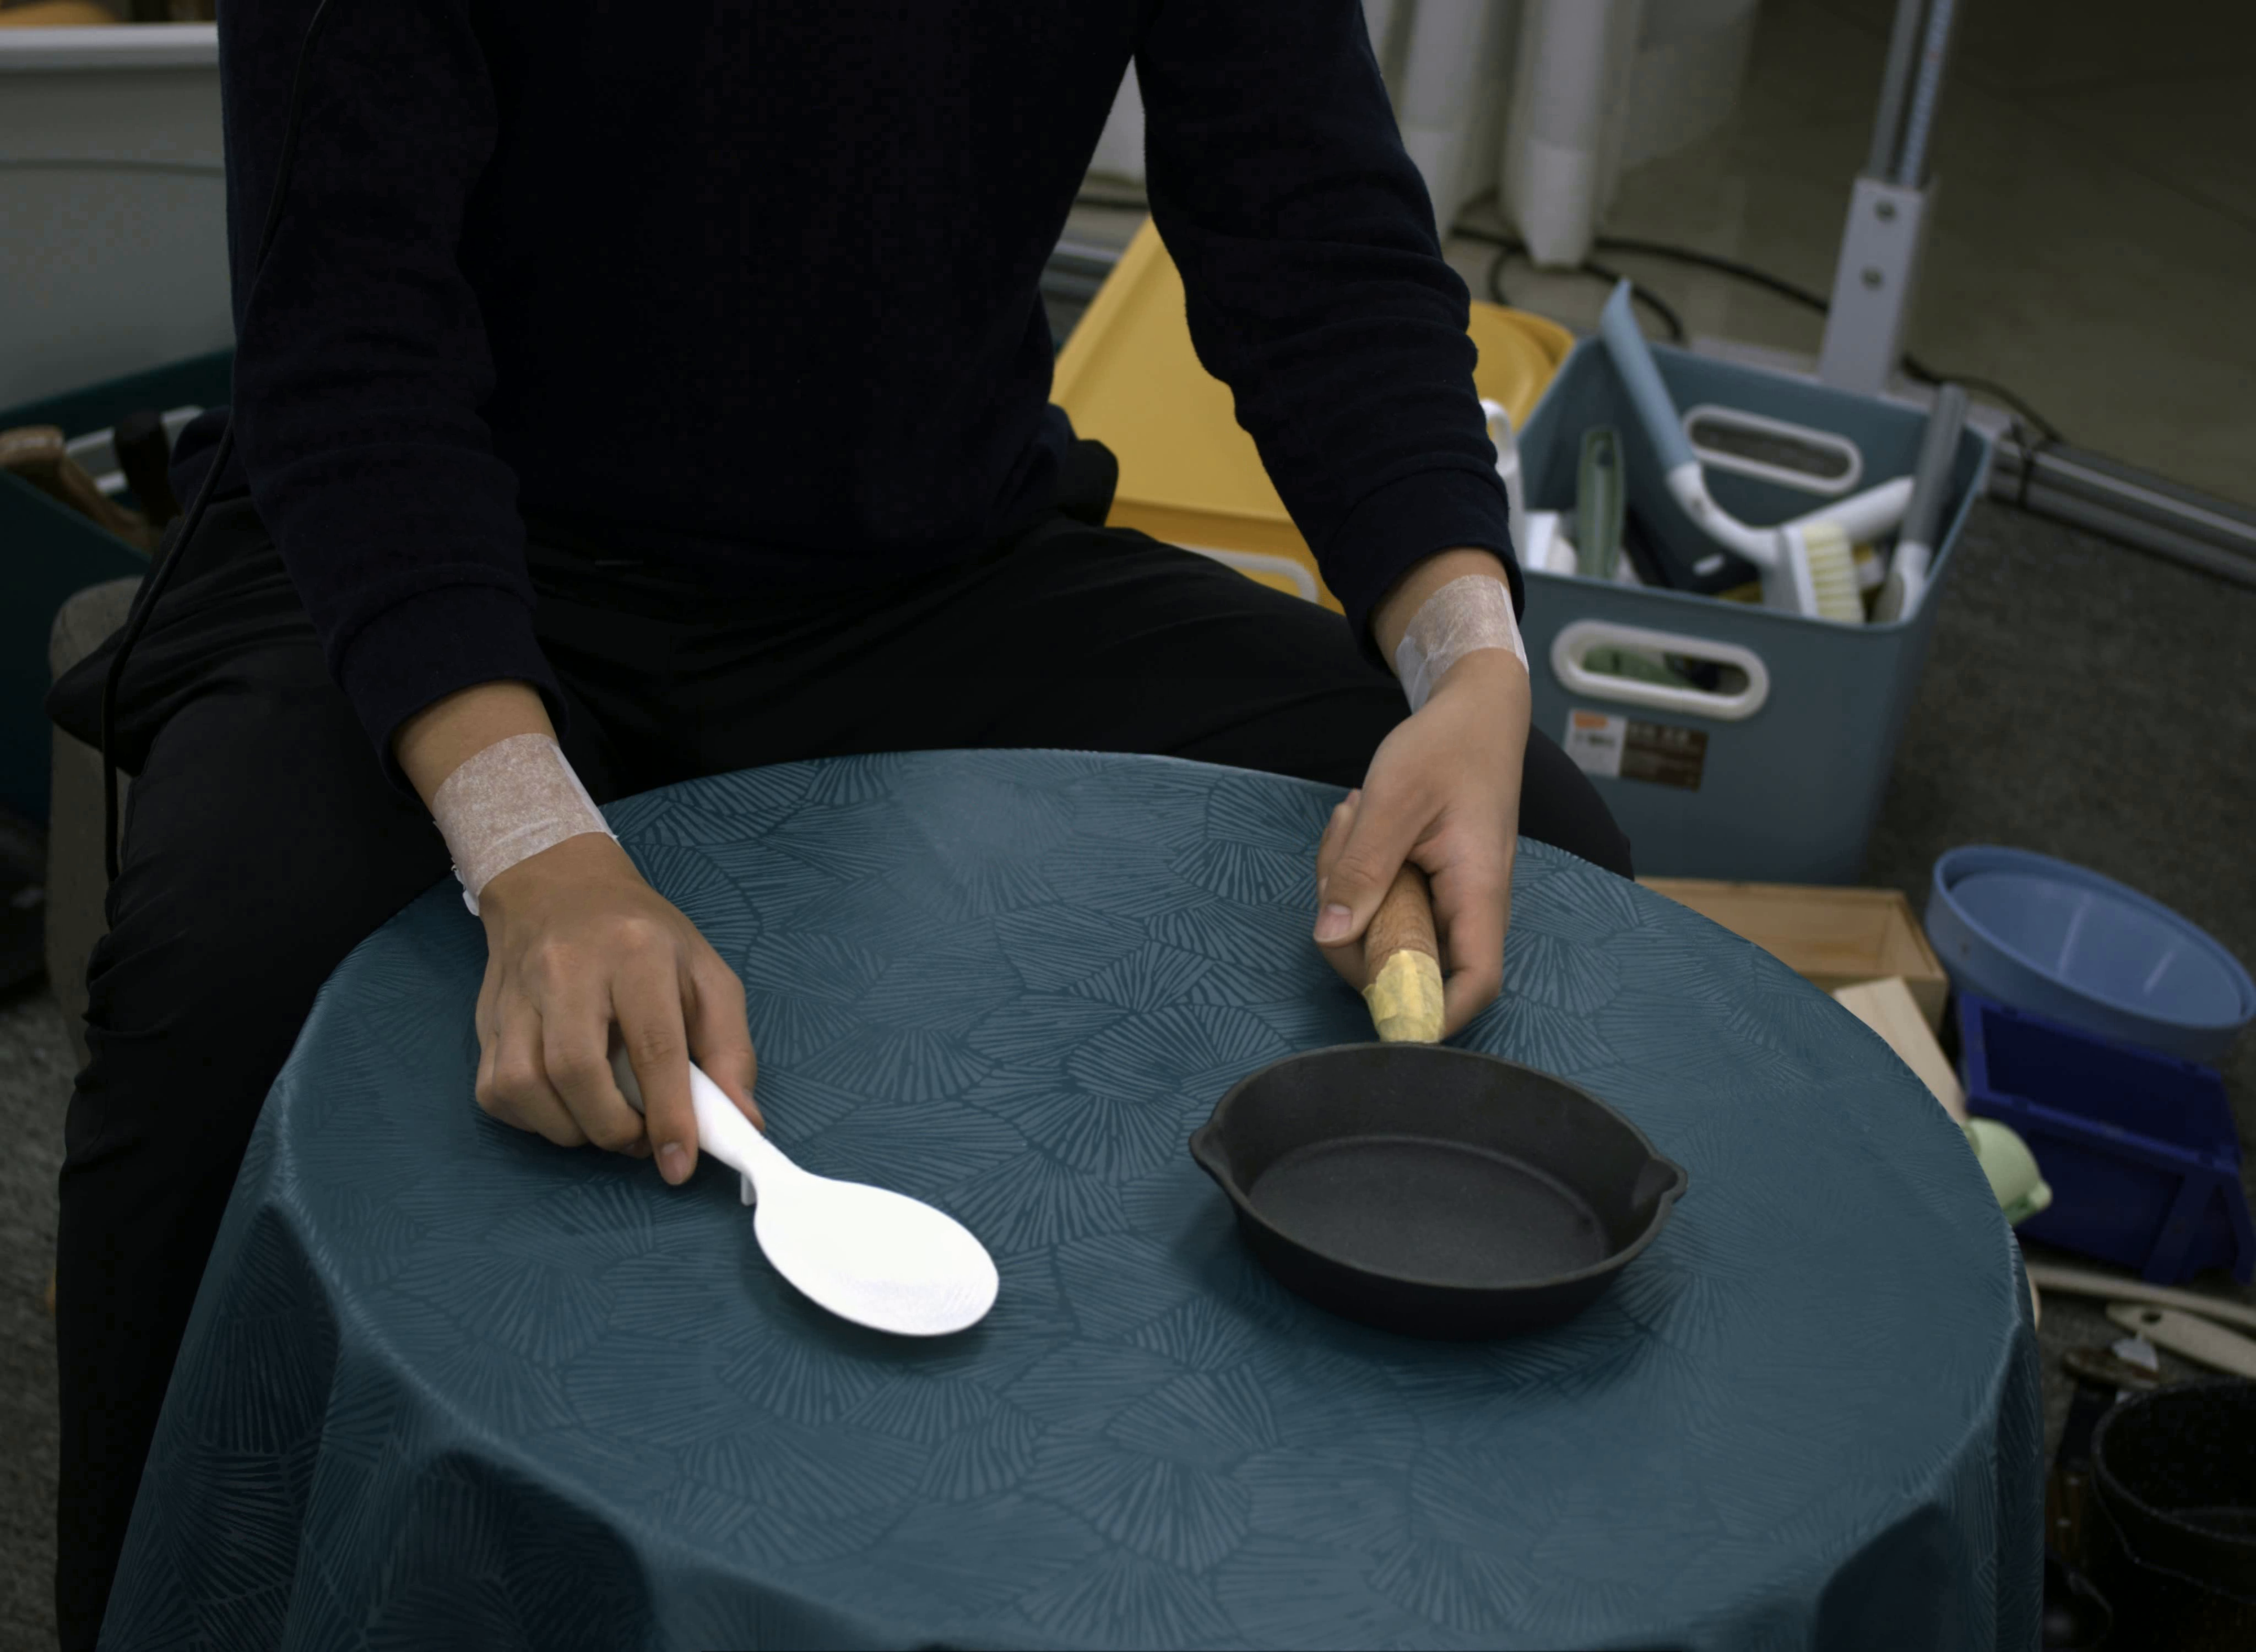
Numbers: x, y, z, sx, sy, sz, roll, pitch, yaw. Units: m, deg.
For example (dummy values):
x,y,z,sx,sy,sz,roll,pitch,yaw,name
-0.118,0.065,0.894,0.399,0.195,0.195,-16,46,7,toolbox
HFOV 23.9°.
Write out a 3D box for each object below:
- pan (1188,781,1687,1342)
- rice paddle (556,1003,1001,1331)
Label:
x,y,z,sx,sy,sz,roll,pitch,yaw,name
0.102,0.079,1.858,0.168,0.049,0.326,5,29,-3,pan
-0.118,0.115,1.762,0.068,0.029,0.207,-19,36,-37,rice paddle
